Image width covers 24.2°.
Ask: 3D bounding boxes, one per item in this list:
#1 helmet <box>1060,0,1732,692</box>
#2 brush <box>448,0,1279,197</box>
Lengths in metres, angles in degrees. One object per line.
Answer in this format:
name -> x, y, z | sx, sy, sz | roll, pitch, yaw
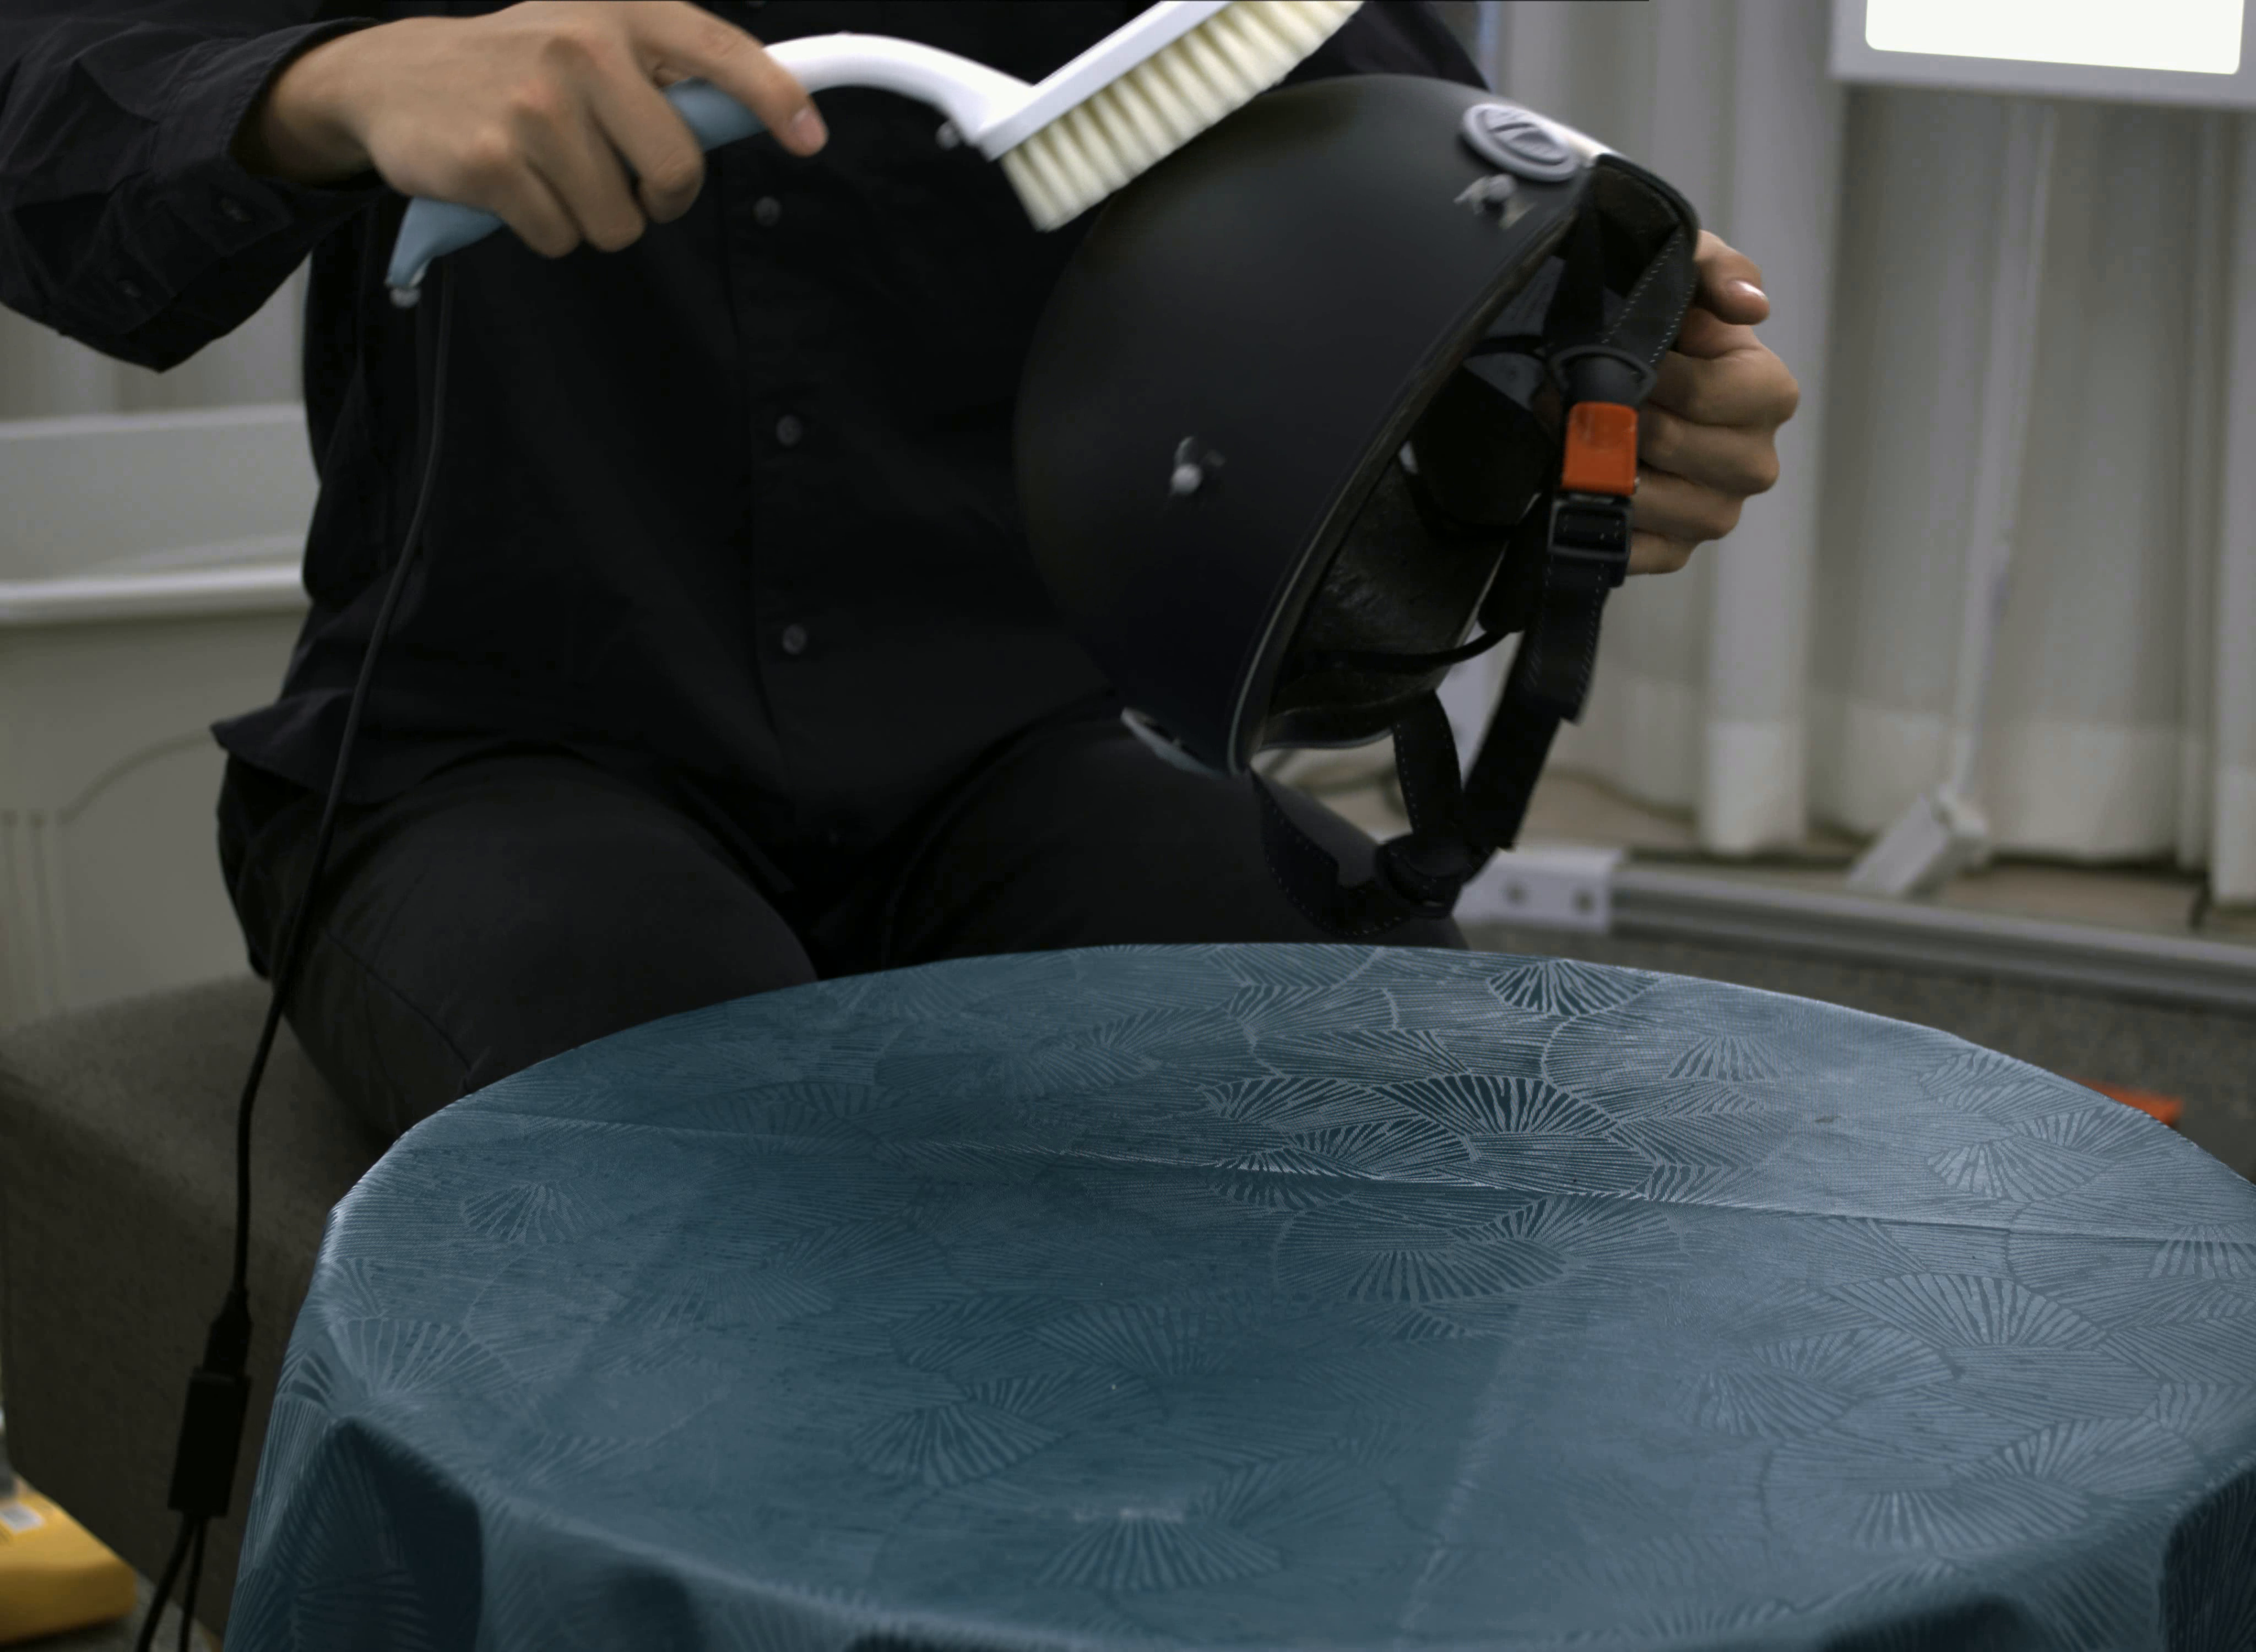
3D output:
helmet -> 0.071, -0.167, 1.686 | 0.165, 0.231, 0.274 | 34, 20, 18
brush -> -0.058, -0.235, 1.660 | 0.324, 0.084, 0.084 | -20, -28, 12
